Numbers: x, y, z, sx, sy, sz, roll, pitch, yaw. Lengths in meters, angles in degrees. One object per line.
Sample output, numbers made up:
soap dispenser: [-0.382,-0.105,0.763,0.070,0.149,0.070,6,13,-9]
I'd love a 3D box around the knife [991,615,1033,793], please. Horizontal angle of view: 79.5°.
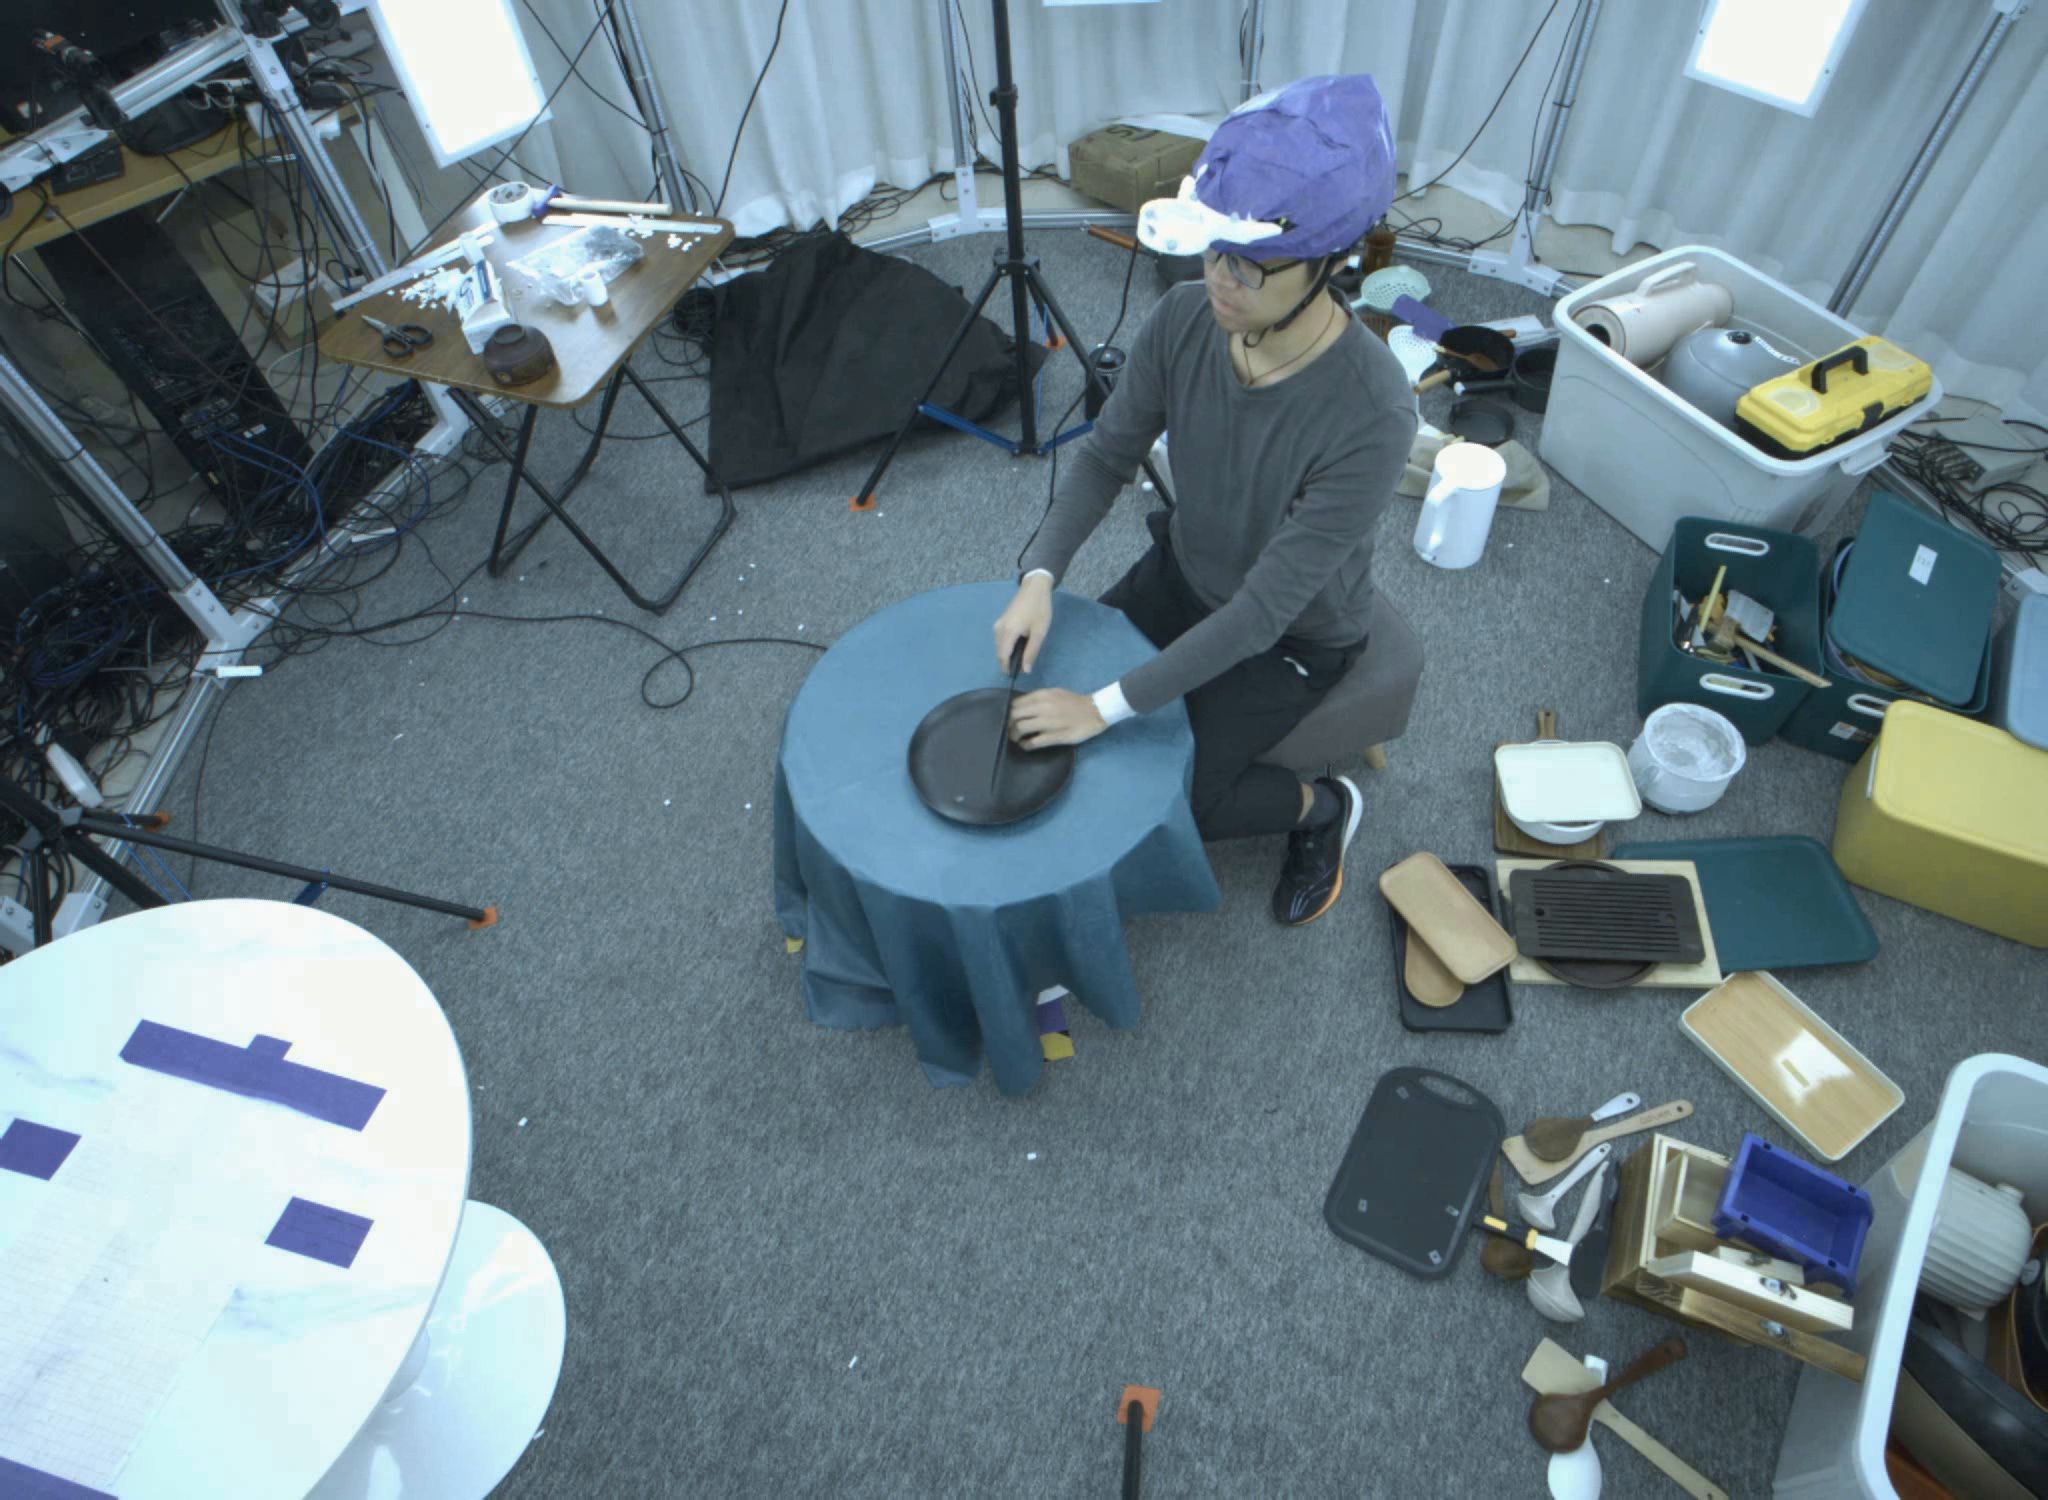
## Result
knife: [-0.020,-0.075,1.777,0.021,0.081,0.300,9,59,3]

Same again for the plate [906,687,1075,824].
plate: [-0.048,0.009,1.776,0.244,0.023,0.242,0,54,1]
